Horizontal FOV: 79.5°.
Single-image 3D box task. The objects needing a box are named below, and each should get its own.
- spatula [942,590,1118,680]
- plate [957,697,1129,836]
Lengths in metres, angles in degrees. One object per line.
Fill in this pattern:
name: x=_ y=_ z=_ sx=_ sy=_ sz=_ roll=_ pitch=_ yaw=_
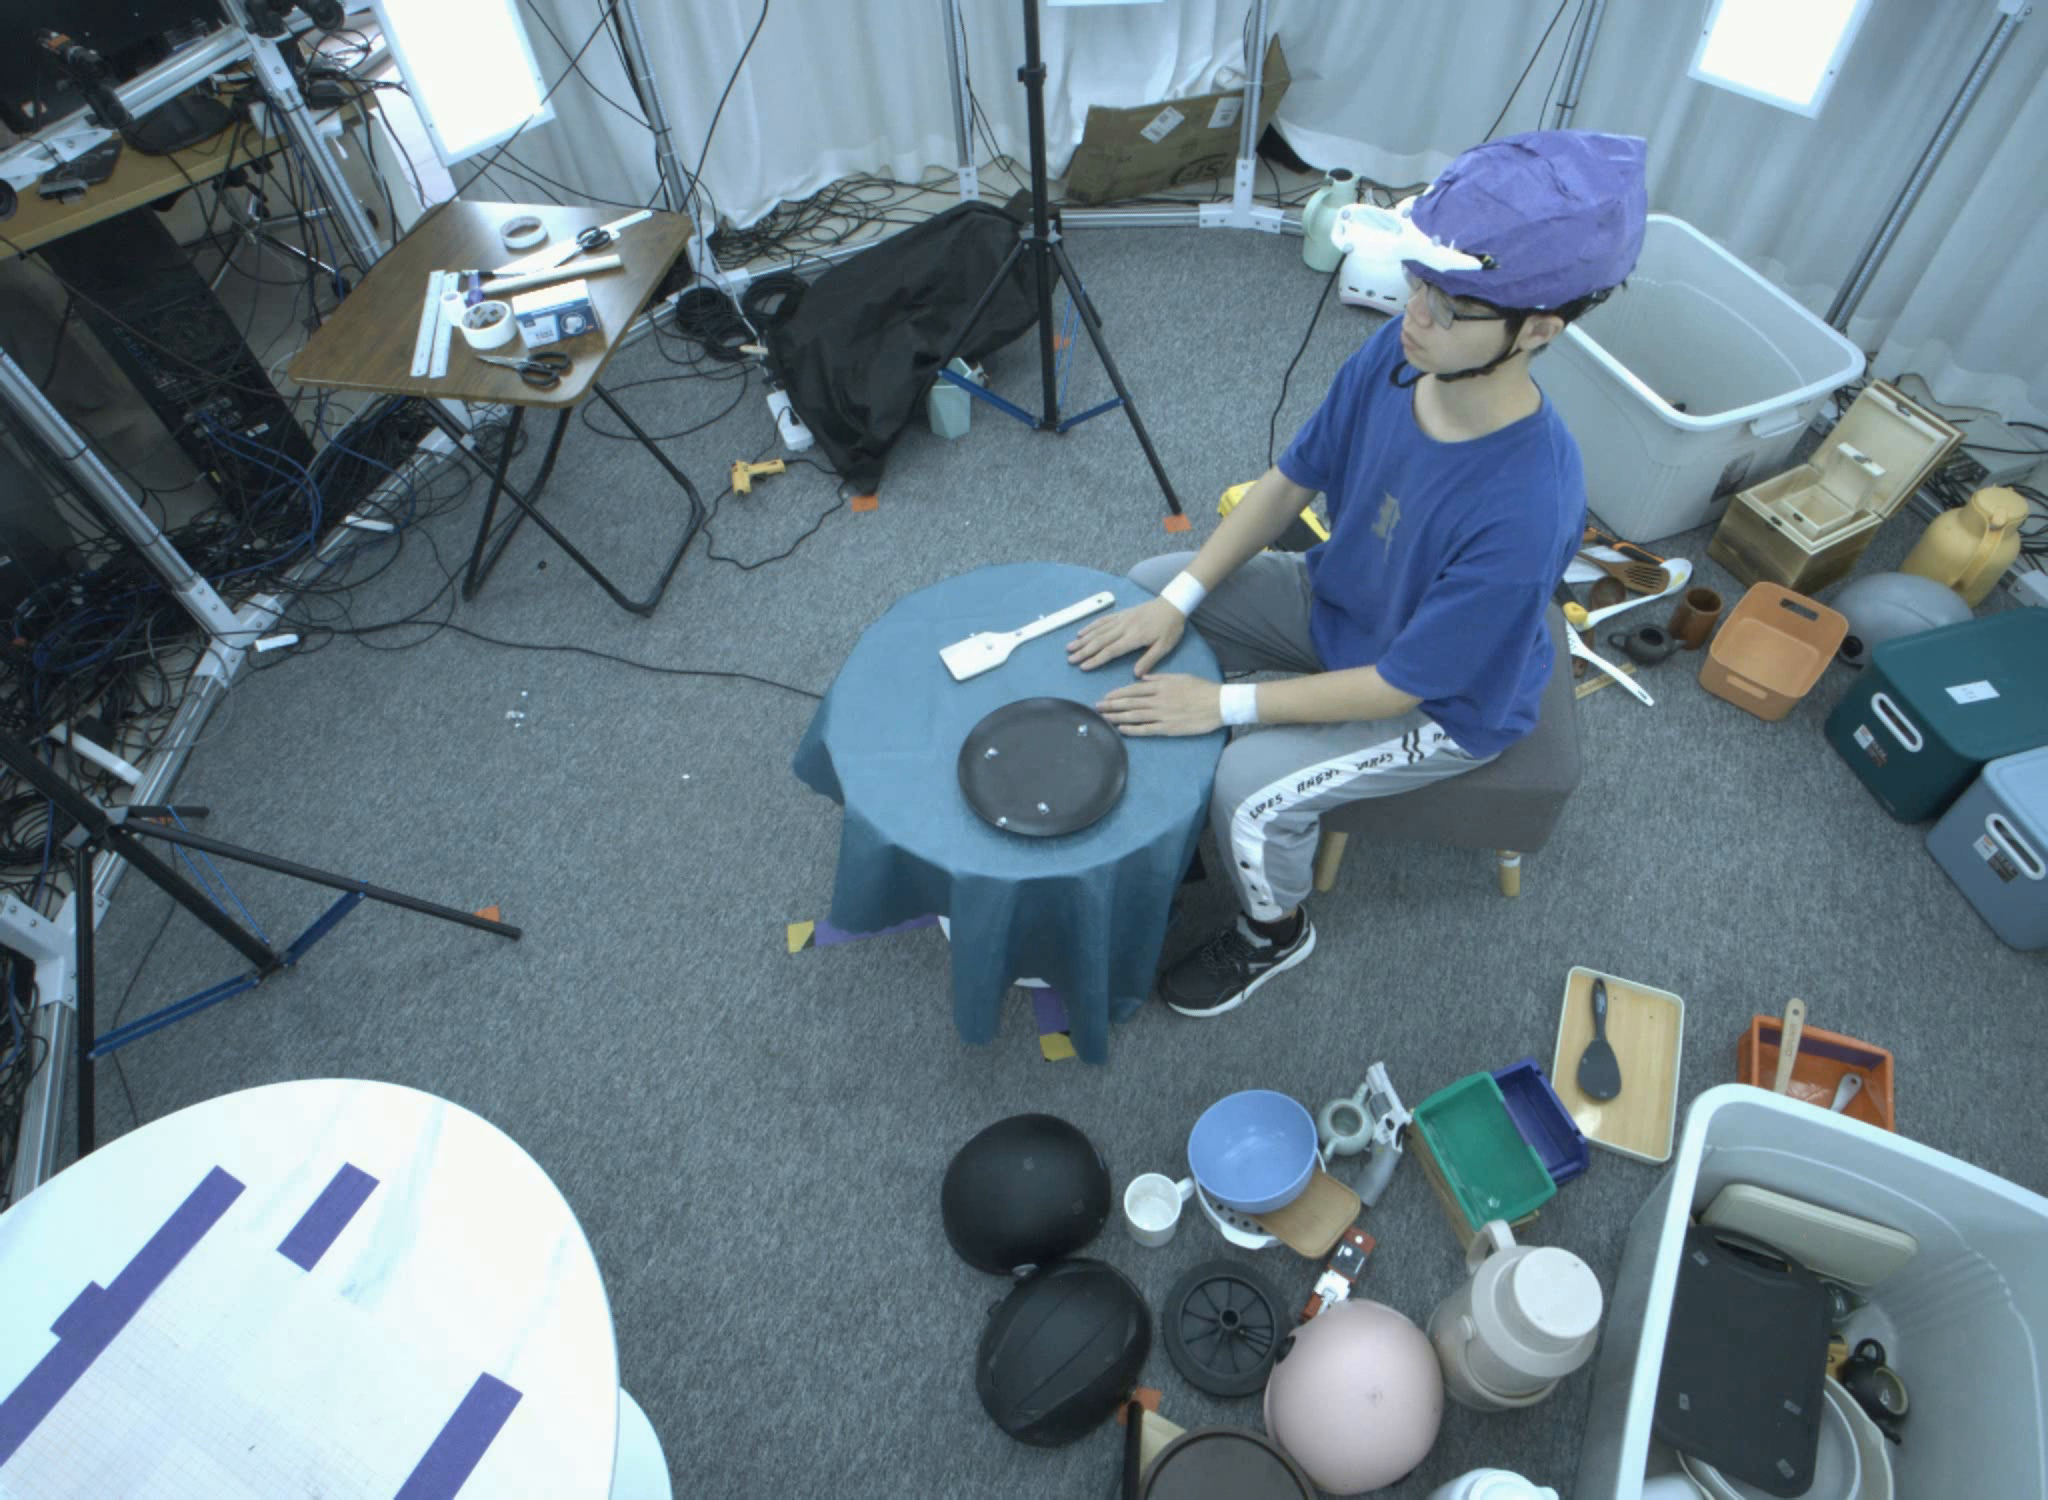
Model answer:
spatula: x=0.015 y=-0.186 z=1.905 sx=0.295 sy=0.011 sz=0.071 roll=-25 pitch=56 yaw=-15
plate: x=0.026 y=0.025 z=1.745 sx=0.244 sy=0.024 sz=0.242 roll=0 pitch=54 yaw=2
